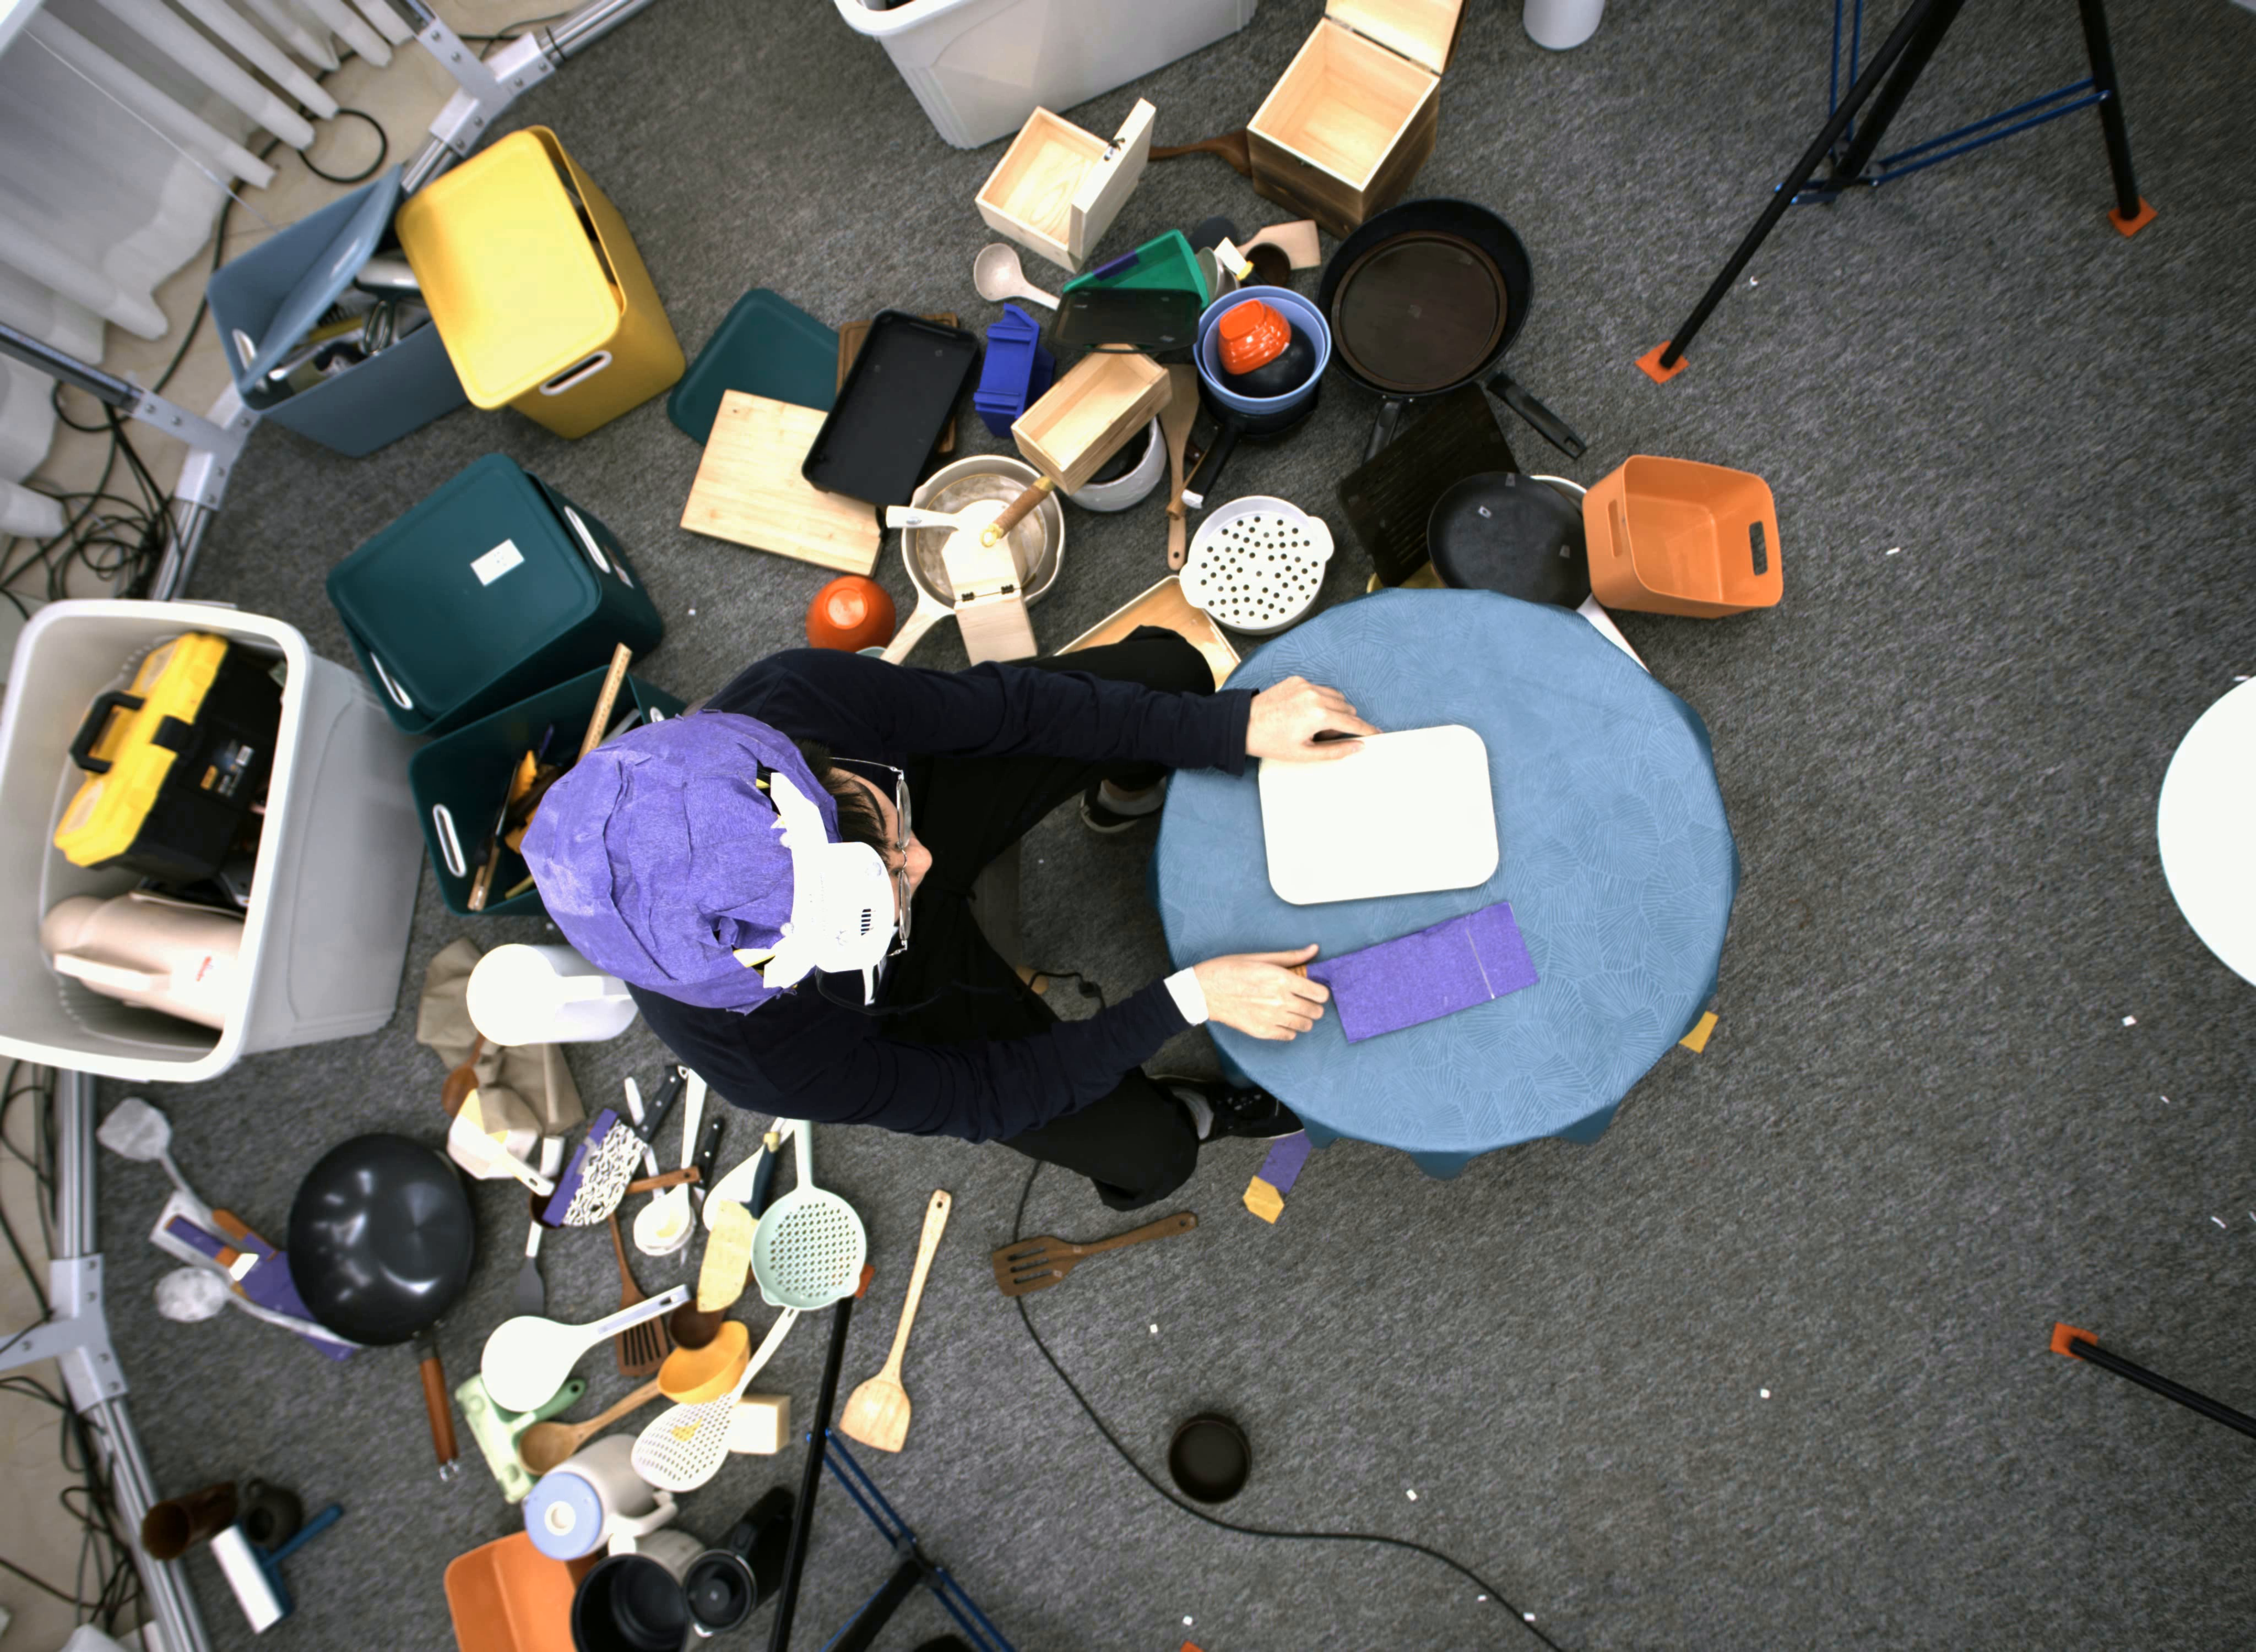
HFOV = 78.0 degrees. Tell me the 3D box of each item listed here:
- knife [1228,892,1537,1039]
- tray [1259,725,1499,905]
[{"bbox_3d":[0.266,0.165,1.442,0.317,0.032,0.103,-20,82,8],"label":"knife"},{"bbox_3d":[0.263,-0.012,1.453,0.241,0.017,0.171,-6,90,10],"label":"tray"}]
